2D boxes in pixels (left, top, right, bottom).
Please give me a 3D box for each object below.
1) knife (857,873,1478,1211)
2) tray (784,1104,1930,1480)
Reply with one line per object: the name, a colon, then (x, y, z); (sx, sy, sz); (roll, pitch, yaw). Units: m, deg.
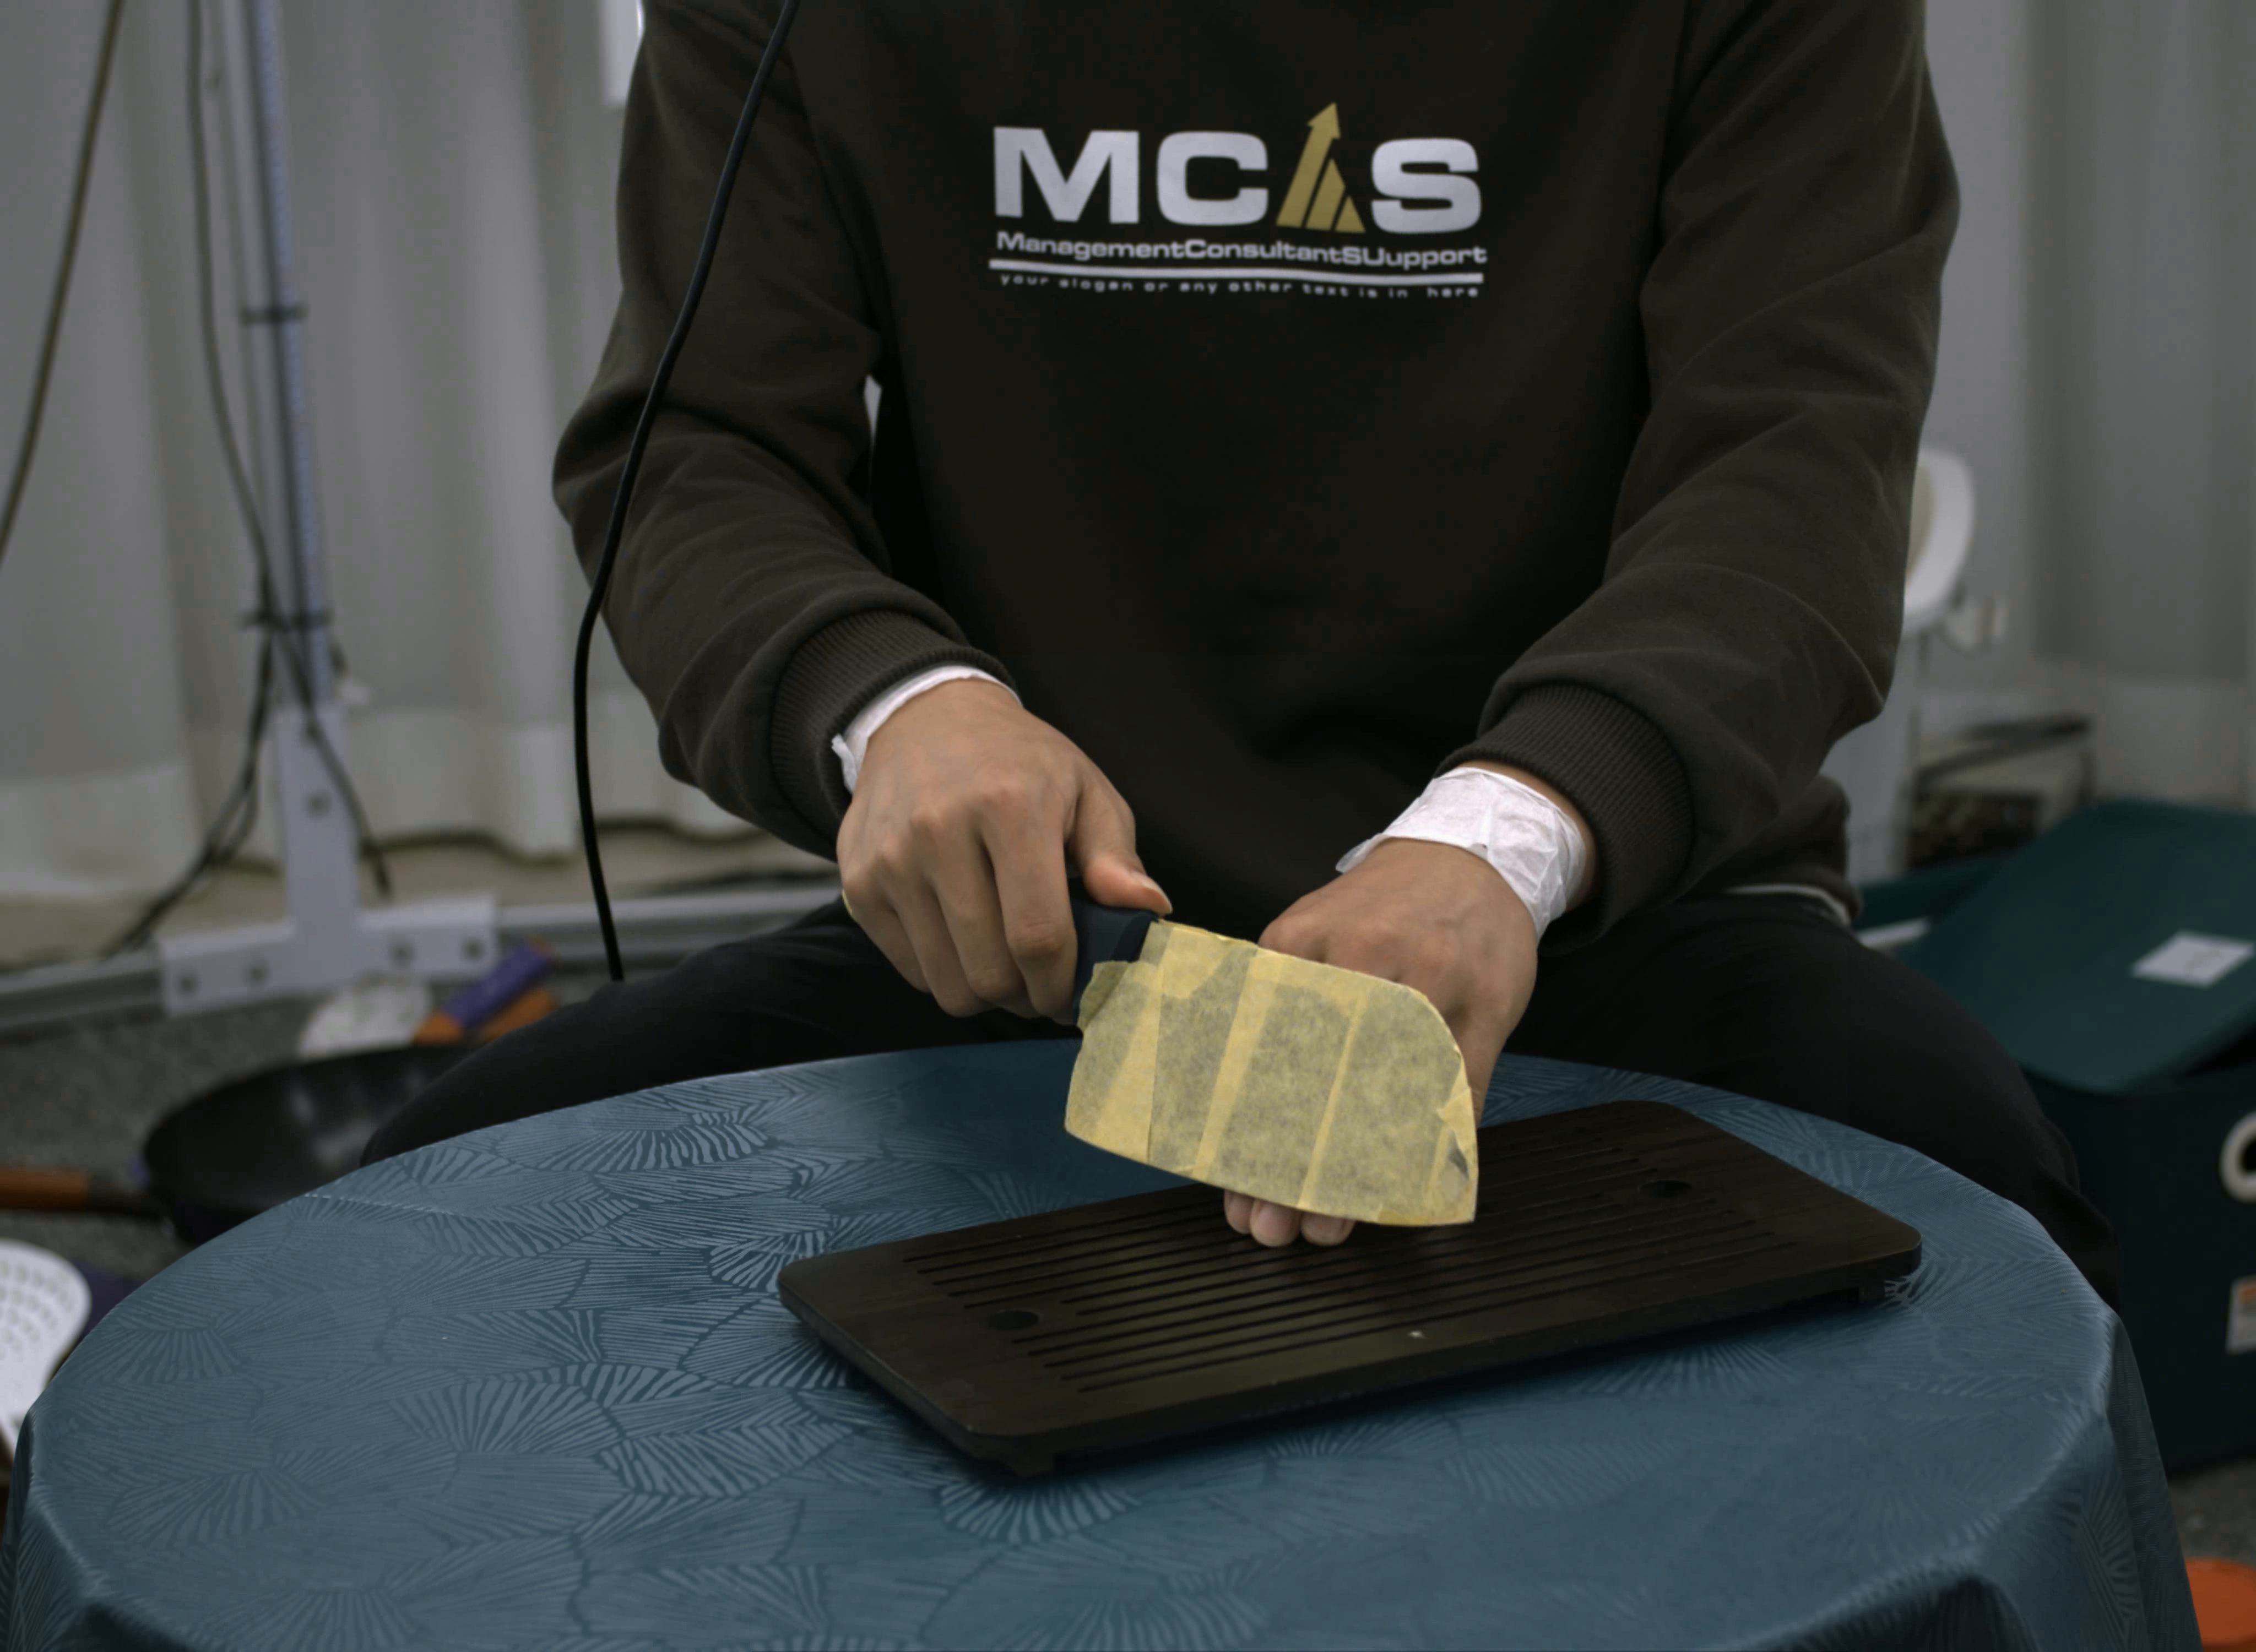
knife: (0.007, 0.063, 1.665); (0.027, 0.081, 0.291); (24, -4, -41)
tray: (0.066, 0.134, 1.598); (0.304, 0.018, 0.171); (-9, 15, -23)
